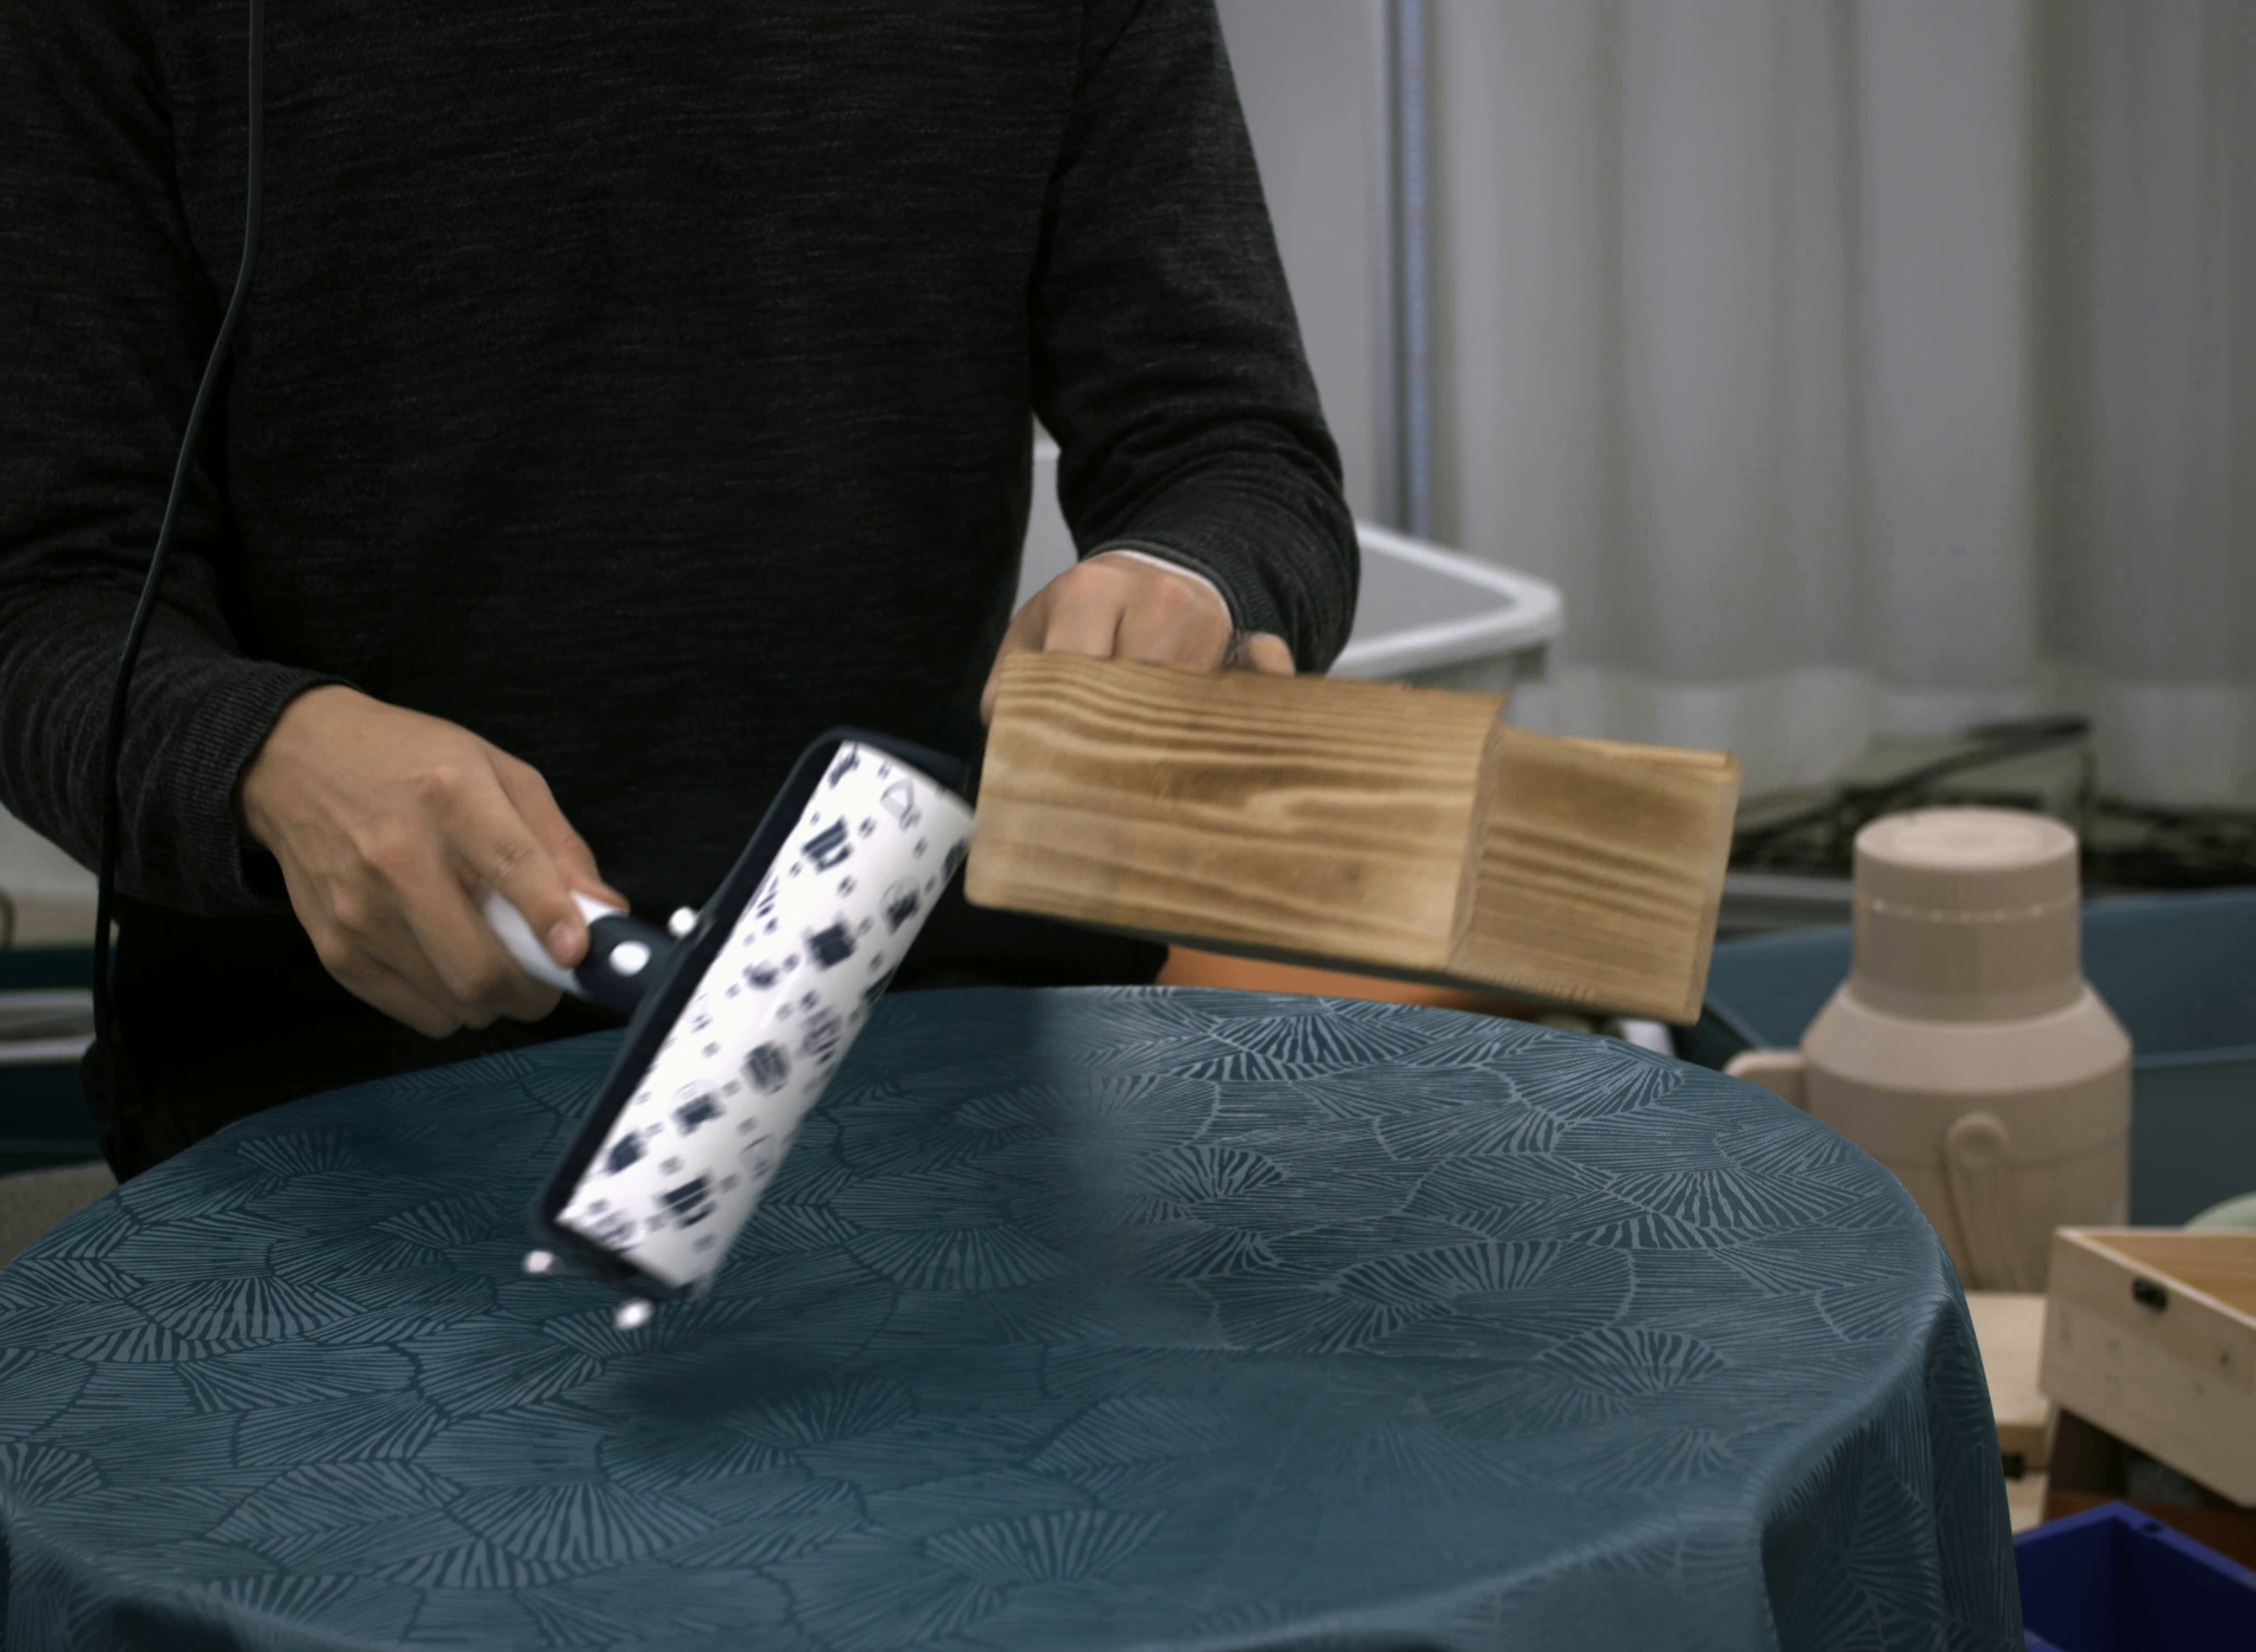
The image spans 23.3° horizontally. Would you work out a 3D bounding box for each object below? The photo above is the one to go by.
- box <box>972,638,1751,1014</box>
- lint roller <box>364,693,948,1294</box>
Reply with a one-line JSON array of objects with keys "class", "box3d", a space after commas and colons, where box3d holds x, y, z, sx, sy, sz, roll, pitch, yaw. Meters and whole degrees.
[{"class": "box", "box3d": [0.065, -0.001, 1.613, 0.106, 0.080, 0.212, 14, -6, -41]}, {"class": "lint roller", "box3d": [-0.166, 0.032, 1.640, 0.050, 0.177, 0.248, 31, -11, -39]}]
